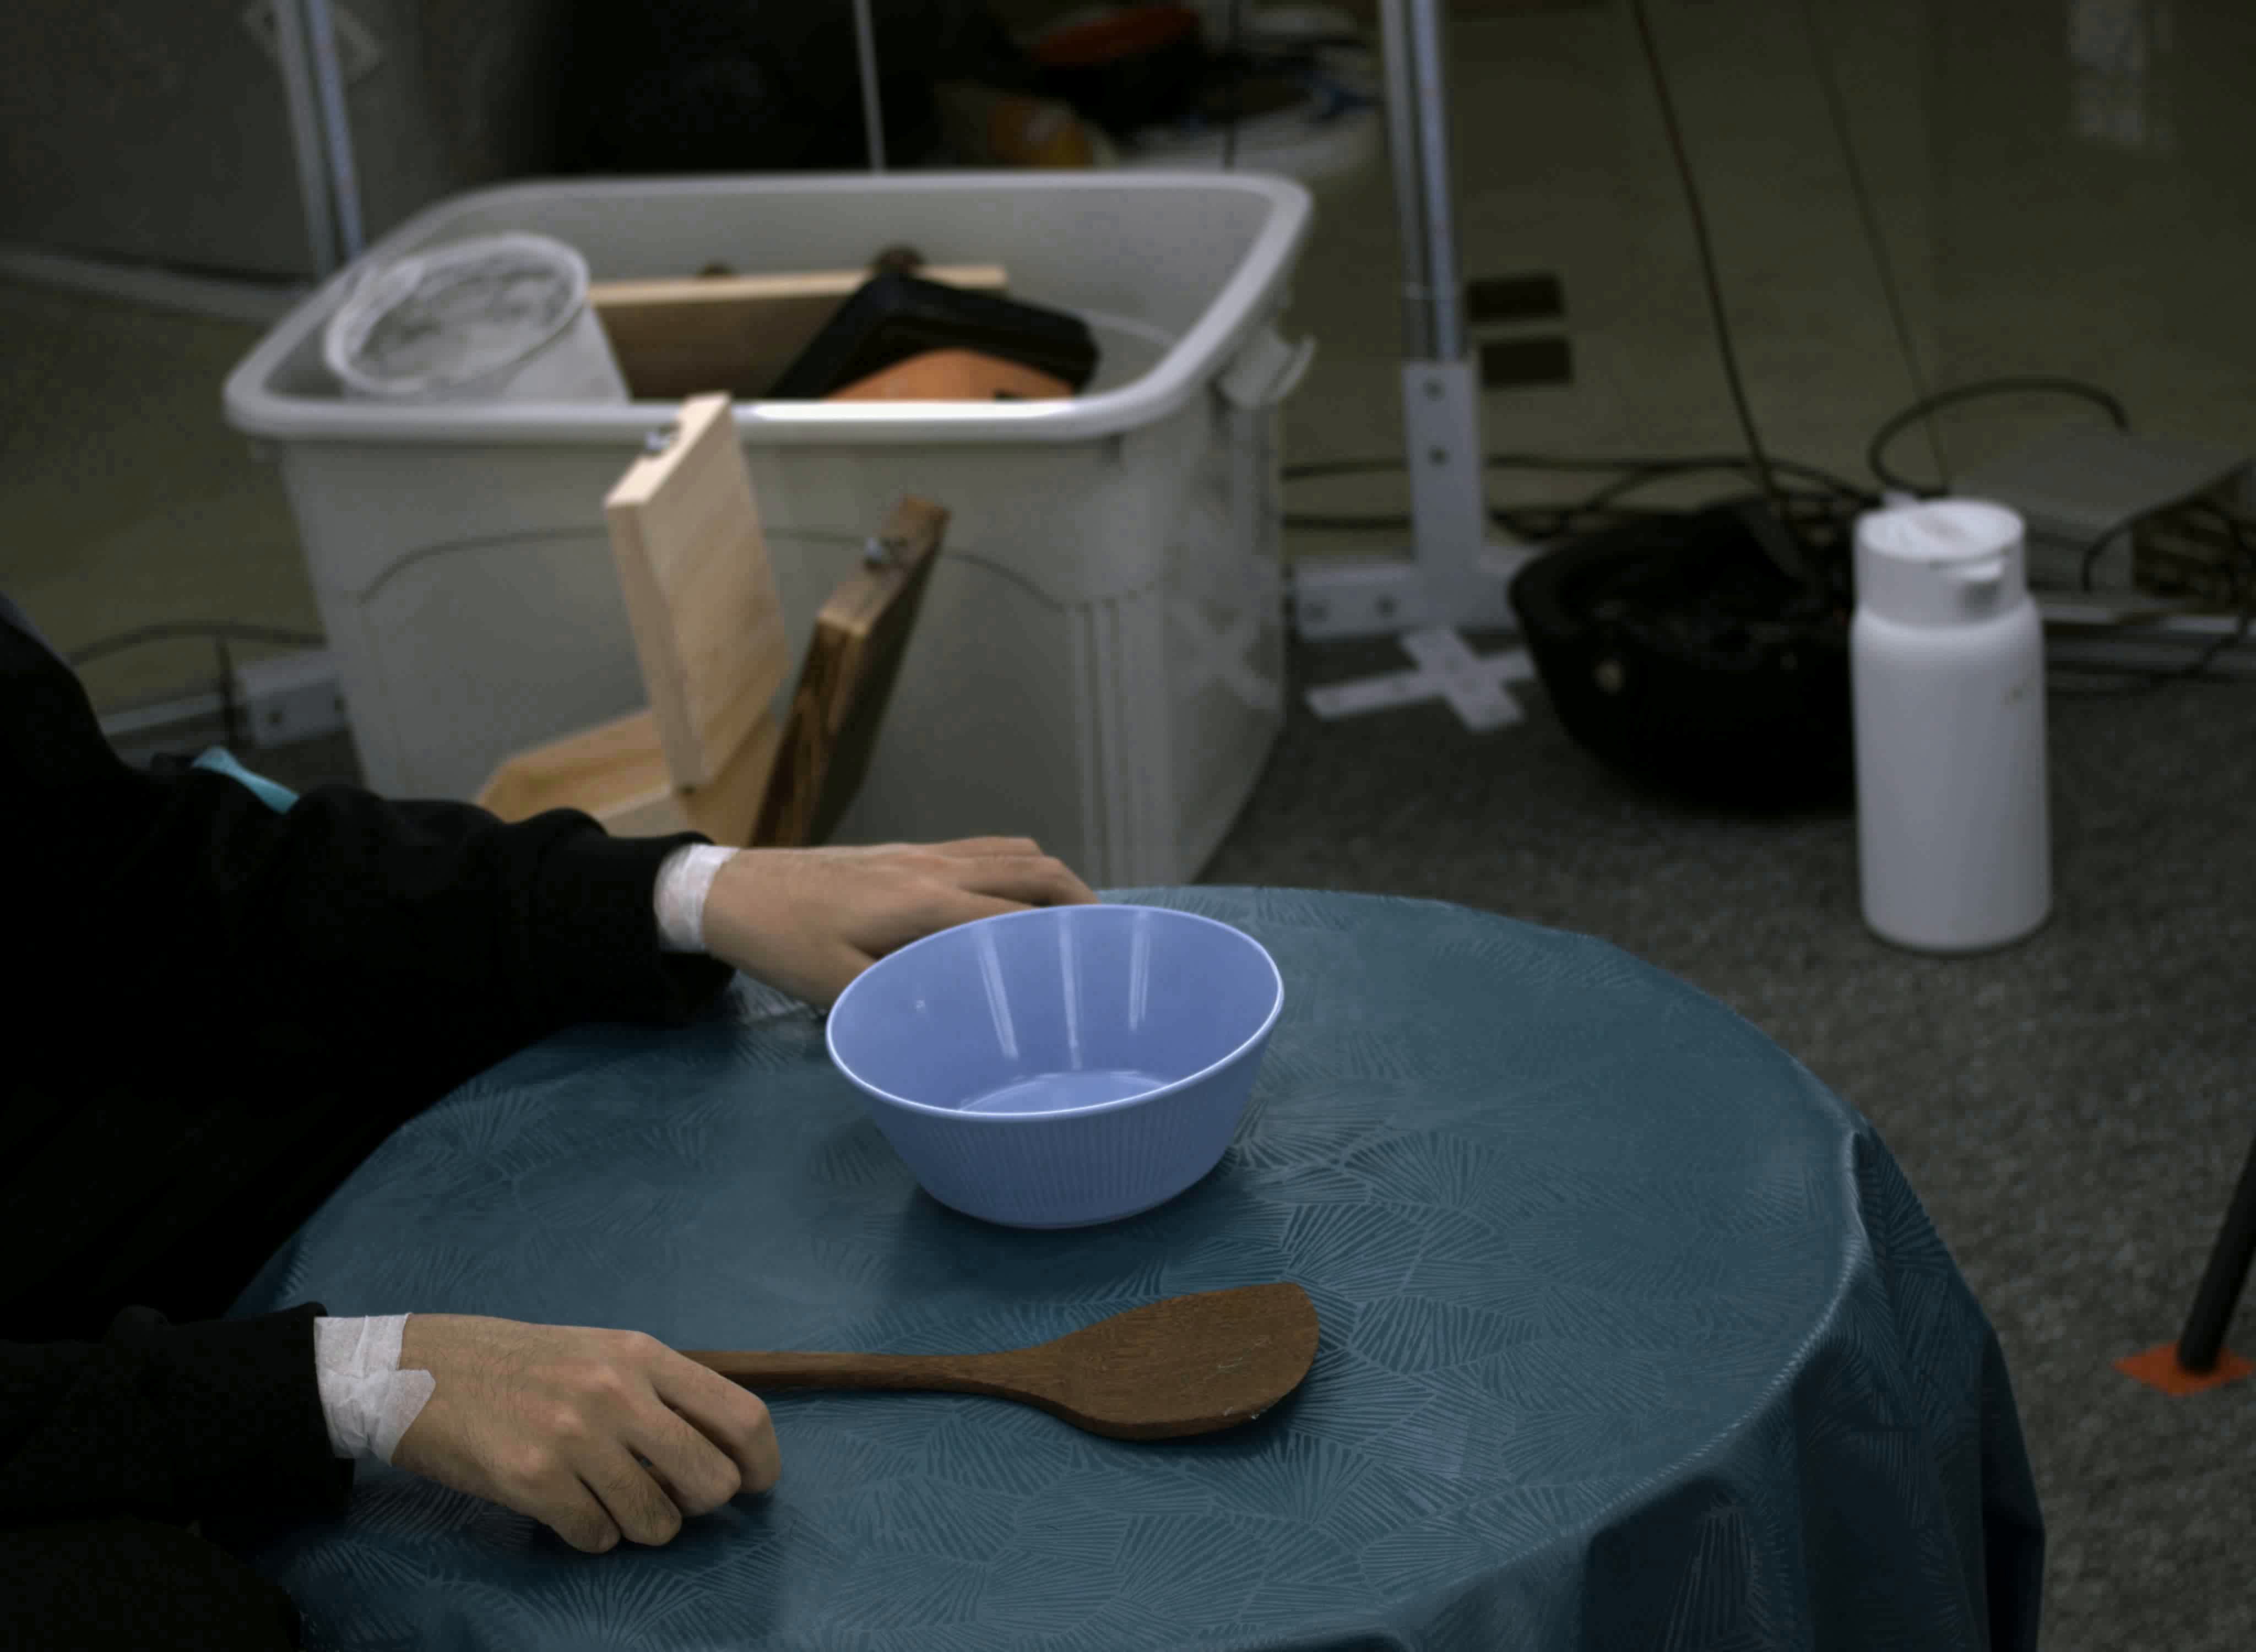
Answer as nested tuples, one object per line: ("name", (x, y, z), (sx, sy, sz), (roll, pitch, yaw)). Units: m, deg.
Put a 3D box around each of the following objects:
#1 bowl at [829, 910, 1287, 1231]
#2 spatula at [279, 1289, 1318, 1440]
("bowl", (-0.023, 0.099, 2.162), (0.176, 0.071, 0.173), (-6, 24, 3))
("spatula", (-0.122, 0.196, 2.044), (0.385, 0.016, 0.095), (-2, 25, 11))
